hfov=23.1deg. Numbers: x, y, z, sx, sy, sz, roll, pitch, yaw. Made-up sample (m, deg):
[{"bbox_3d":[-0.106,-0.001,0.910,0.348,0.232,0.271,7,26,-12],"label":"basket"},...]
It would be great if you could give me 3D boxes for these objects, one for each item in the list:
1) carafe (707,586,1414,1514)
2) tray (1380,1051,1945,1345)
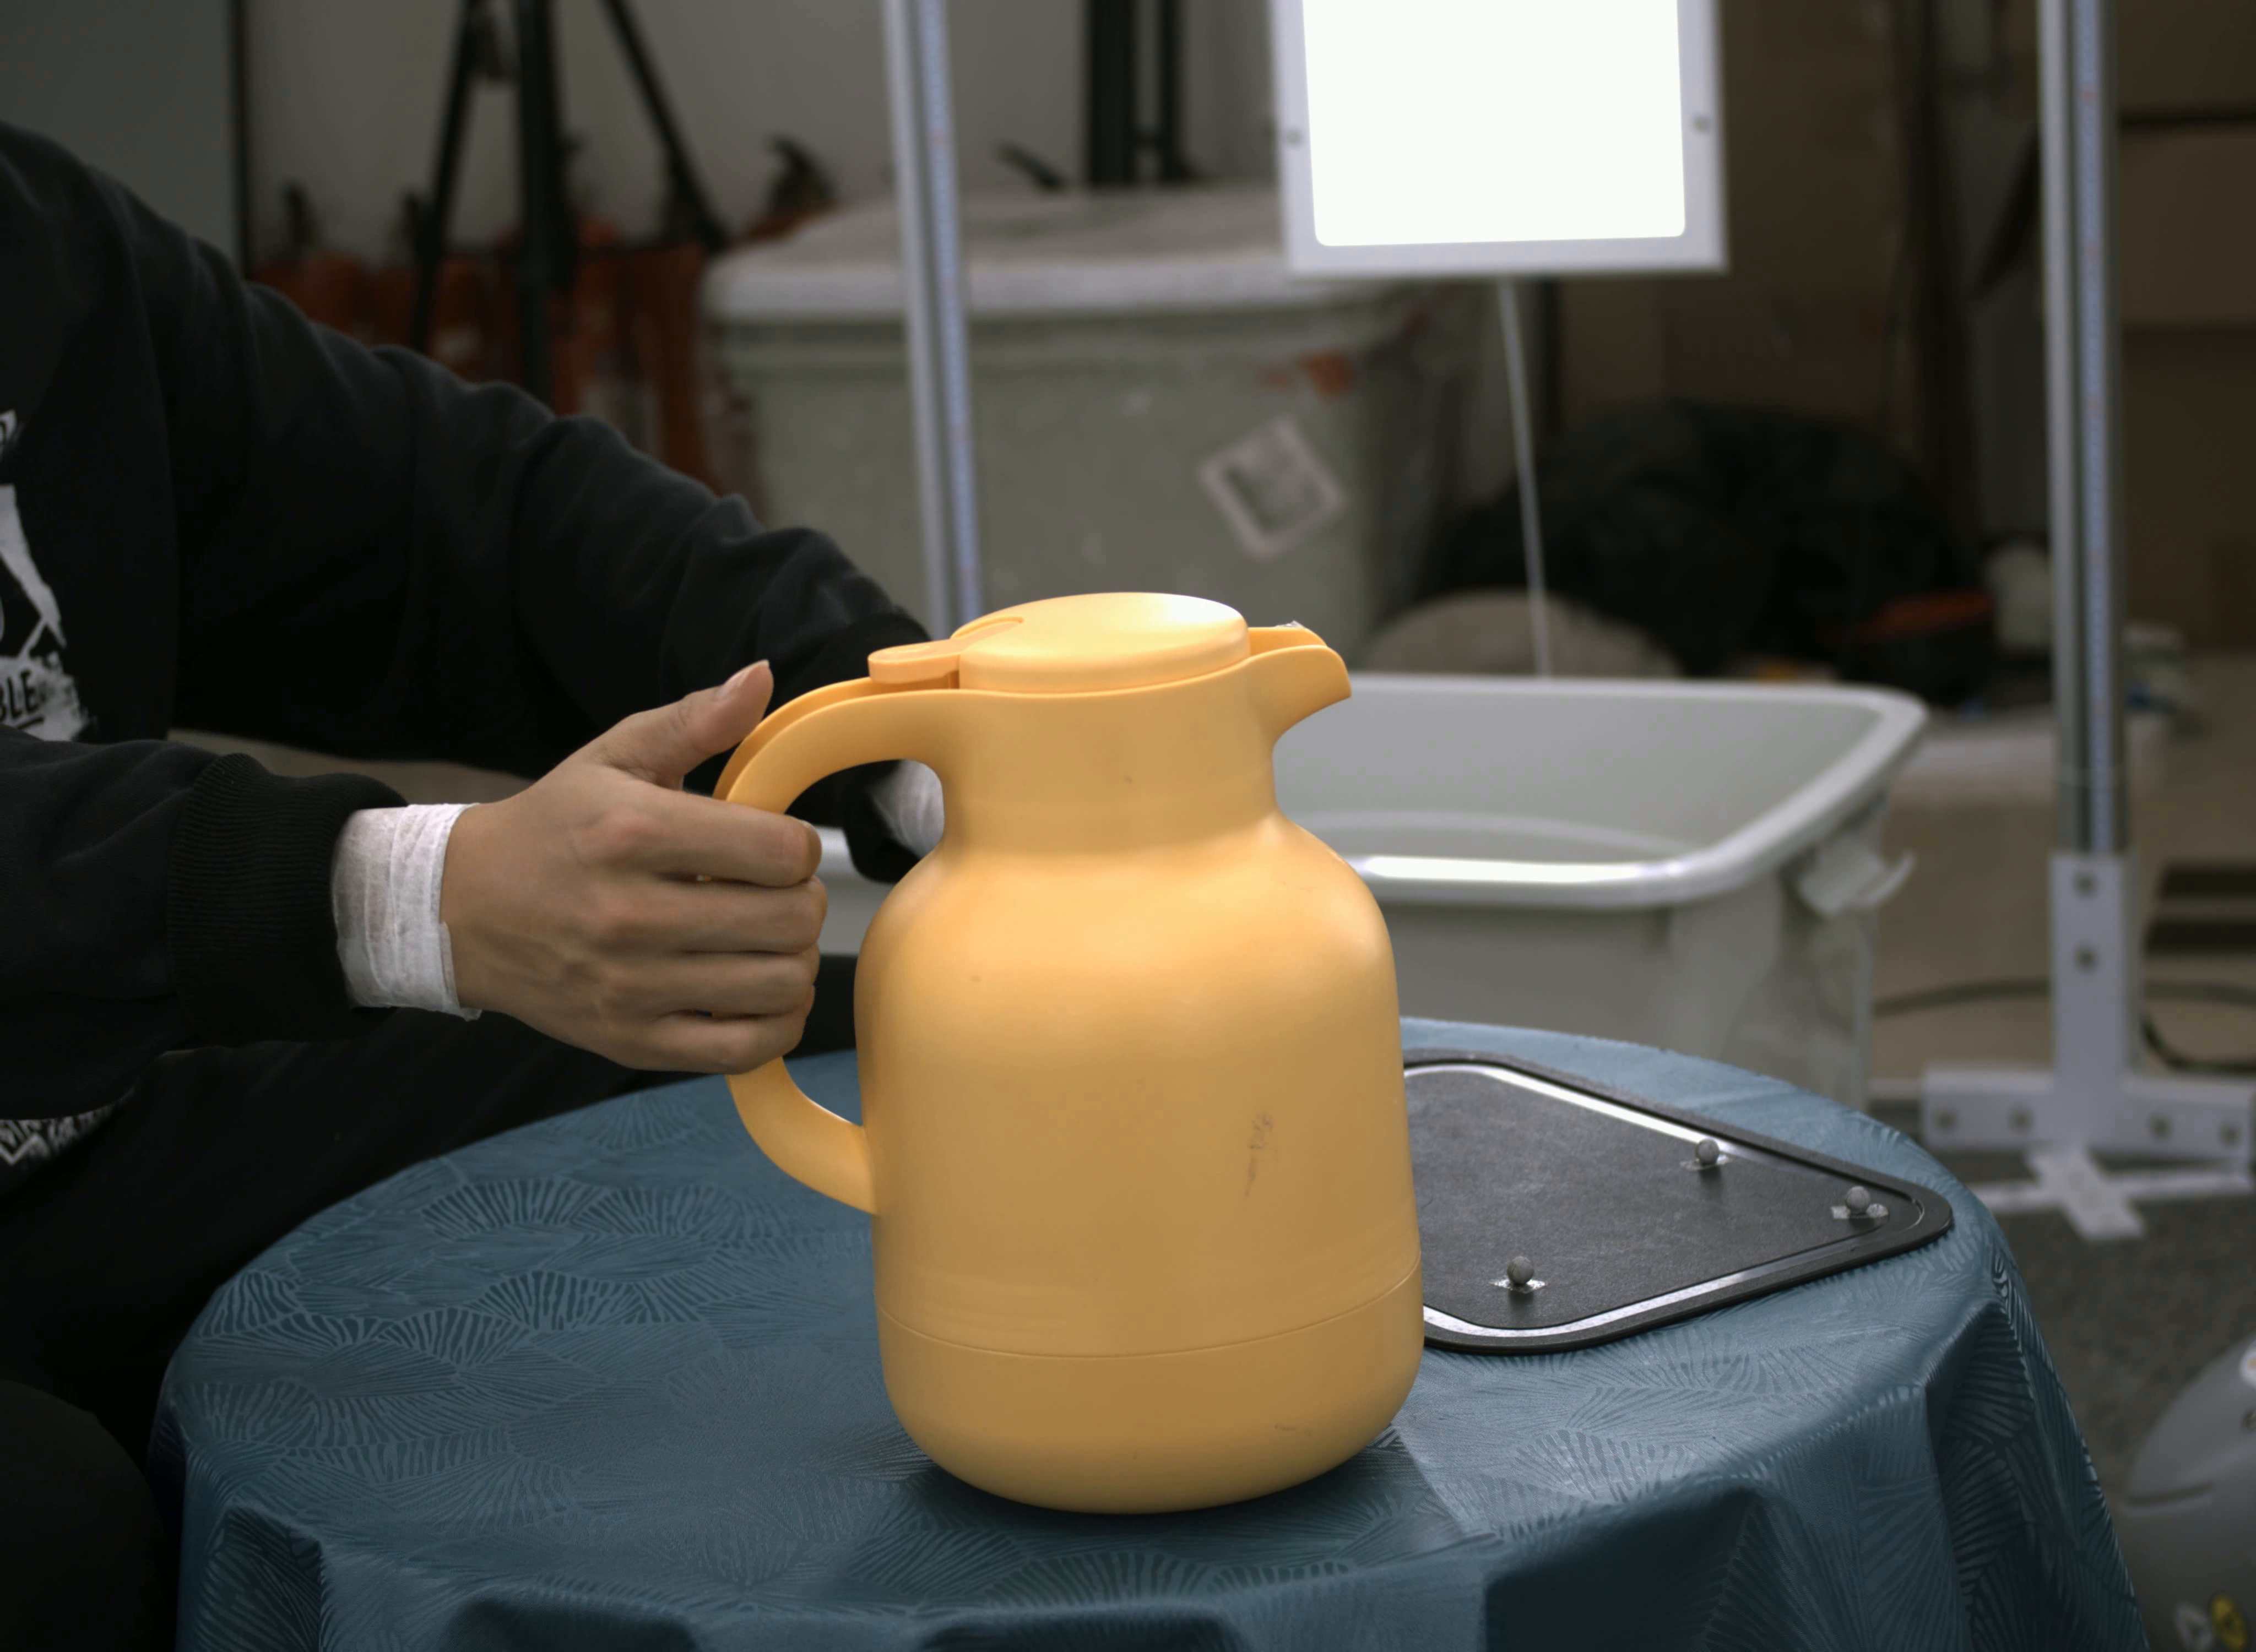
[{"bbox_3d":[-0.020,0.063,1.617,0.201,0.261,0.164,-4,12,-5],"label":"carafe"},{"bbox_3d":[0.111,0.120,1.871,0.206,0.010,0.331,-13,16,-30],"label":"tray"}]
